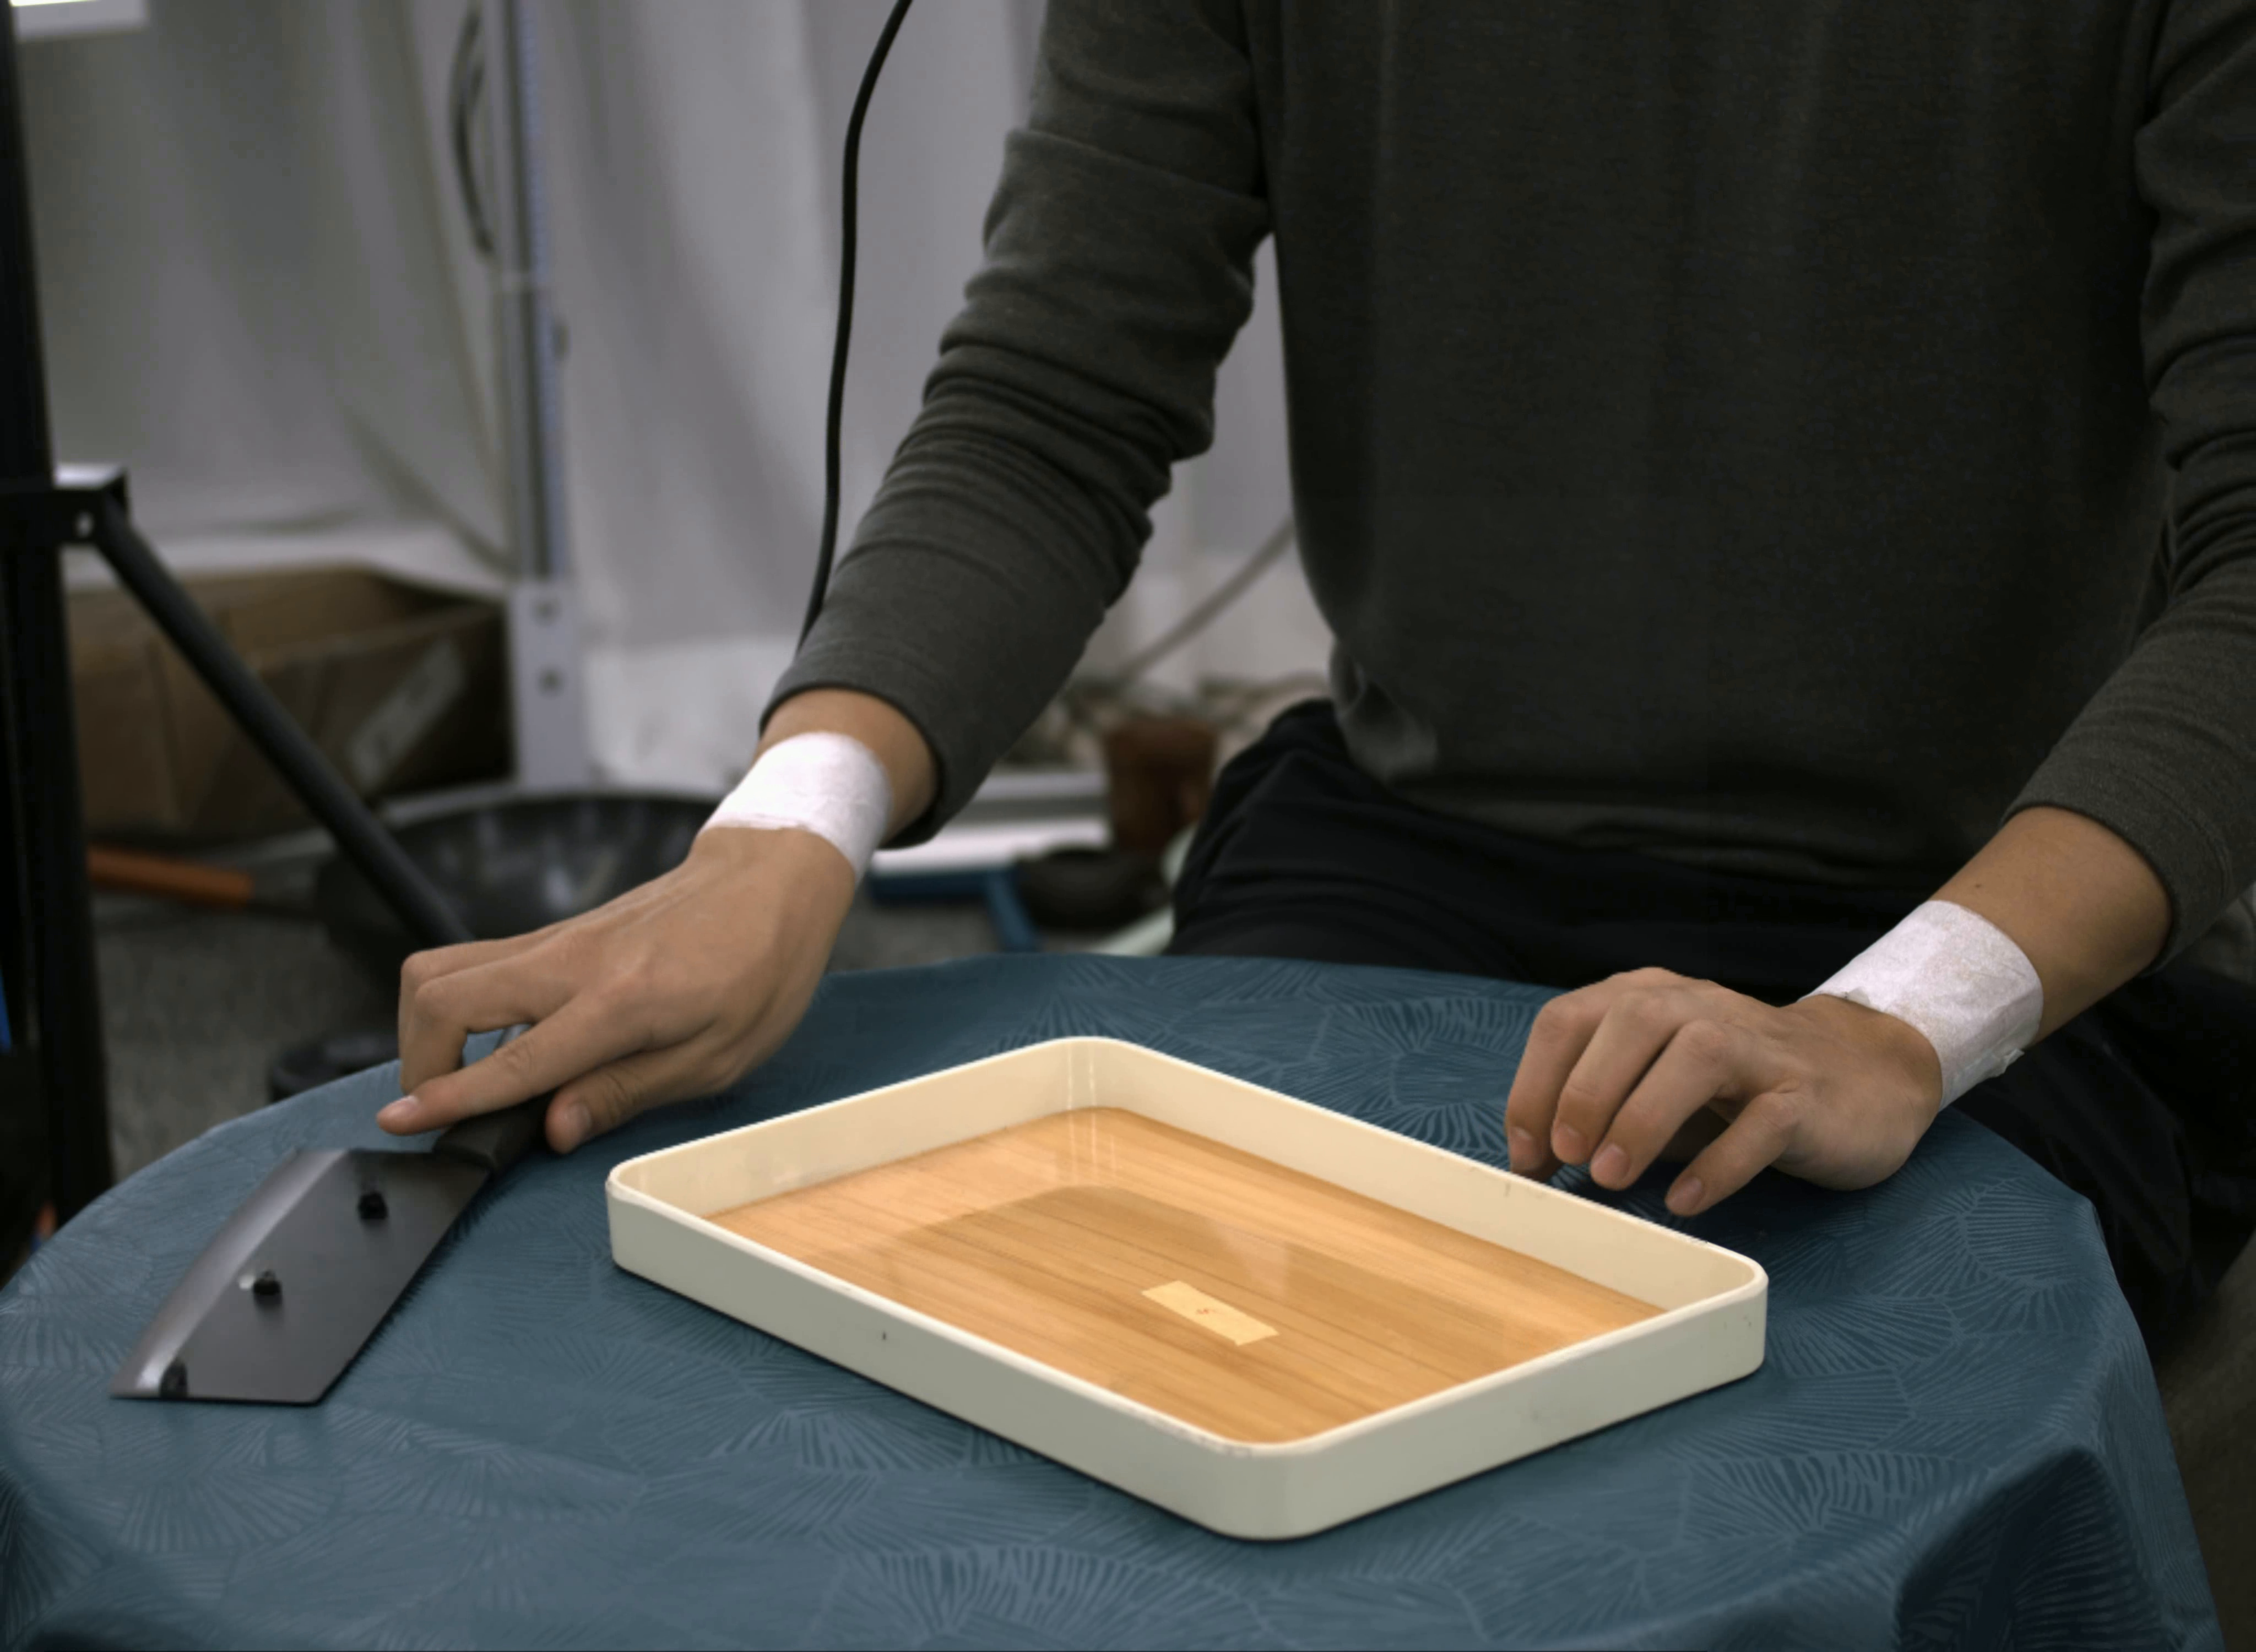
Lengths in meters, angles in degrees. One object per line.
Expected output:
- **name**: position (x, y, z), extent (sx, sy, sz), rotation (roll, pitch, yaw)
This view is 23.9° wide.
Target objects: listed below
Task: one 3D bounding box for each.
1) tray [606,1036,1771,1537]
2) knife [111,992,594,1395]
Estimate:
- **tray**: position (0.011, 0.121, 1.464), extent (0.187, 0.027, 0.307), rotation (-14, 19, -36)
- **knife**: position (-0.219, 0.105, 1.571), extent (0.081, 0.021, 0.300), rotation (7, 19, 12)
